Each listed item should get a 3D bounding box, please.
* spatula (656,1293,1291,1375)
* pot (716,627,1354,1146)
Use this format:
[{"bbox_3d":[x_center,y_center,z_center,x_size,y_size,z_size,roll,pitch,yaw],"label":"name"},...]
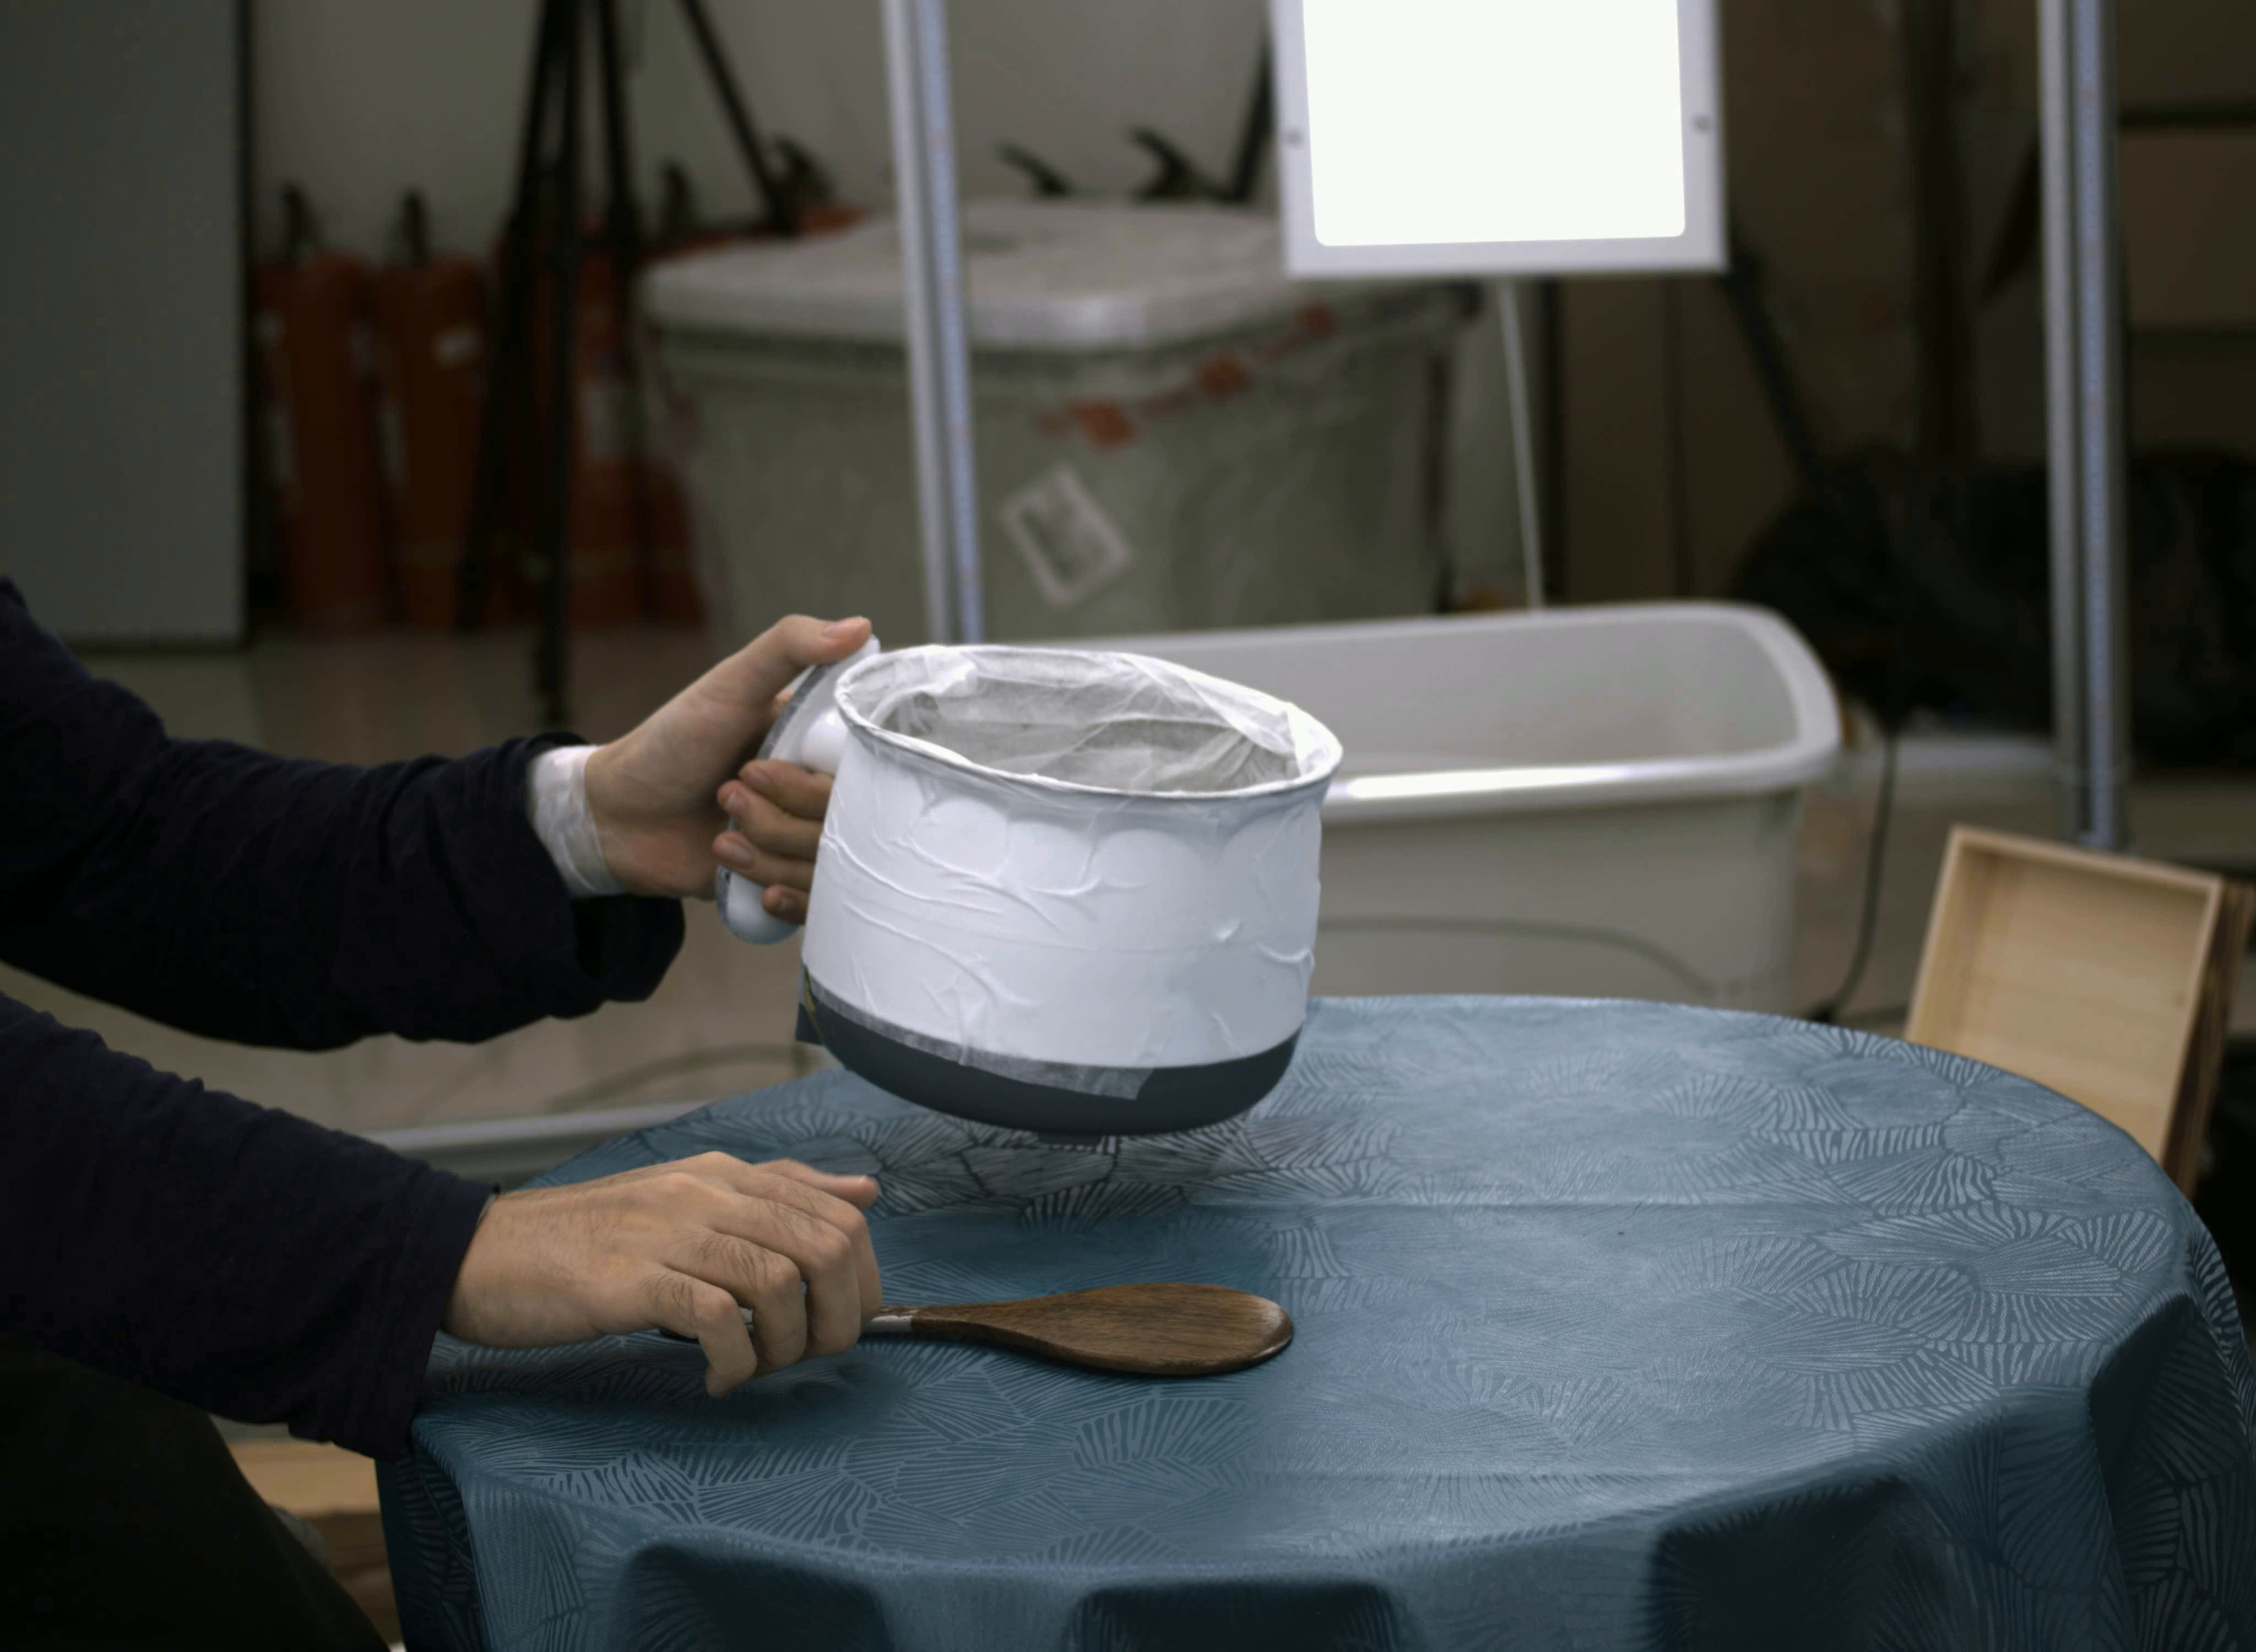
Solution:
[{"bbox_3d":[-0.051,0.162,1.769,0.219,0.009,0.070,-1,13,22],"label":"spatula"},{"bbox_3d":[-0.043,0.015,1.924,0.238,0.137,0.174,19,17,32],"label":"pot"}]
